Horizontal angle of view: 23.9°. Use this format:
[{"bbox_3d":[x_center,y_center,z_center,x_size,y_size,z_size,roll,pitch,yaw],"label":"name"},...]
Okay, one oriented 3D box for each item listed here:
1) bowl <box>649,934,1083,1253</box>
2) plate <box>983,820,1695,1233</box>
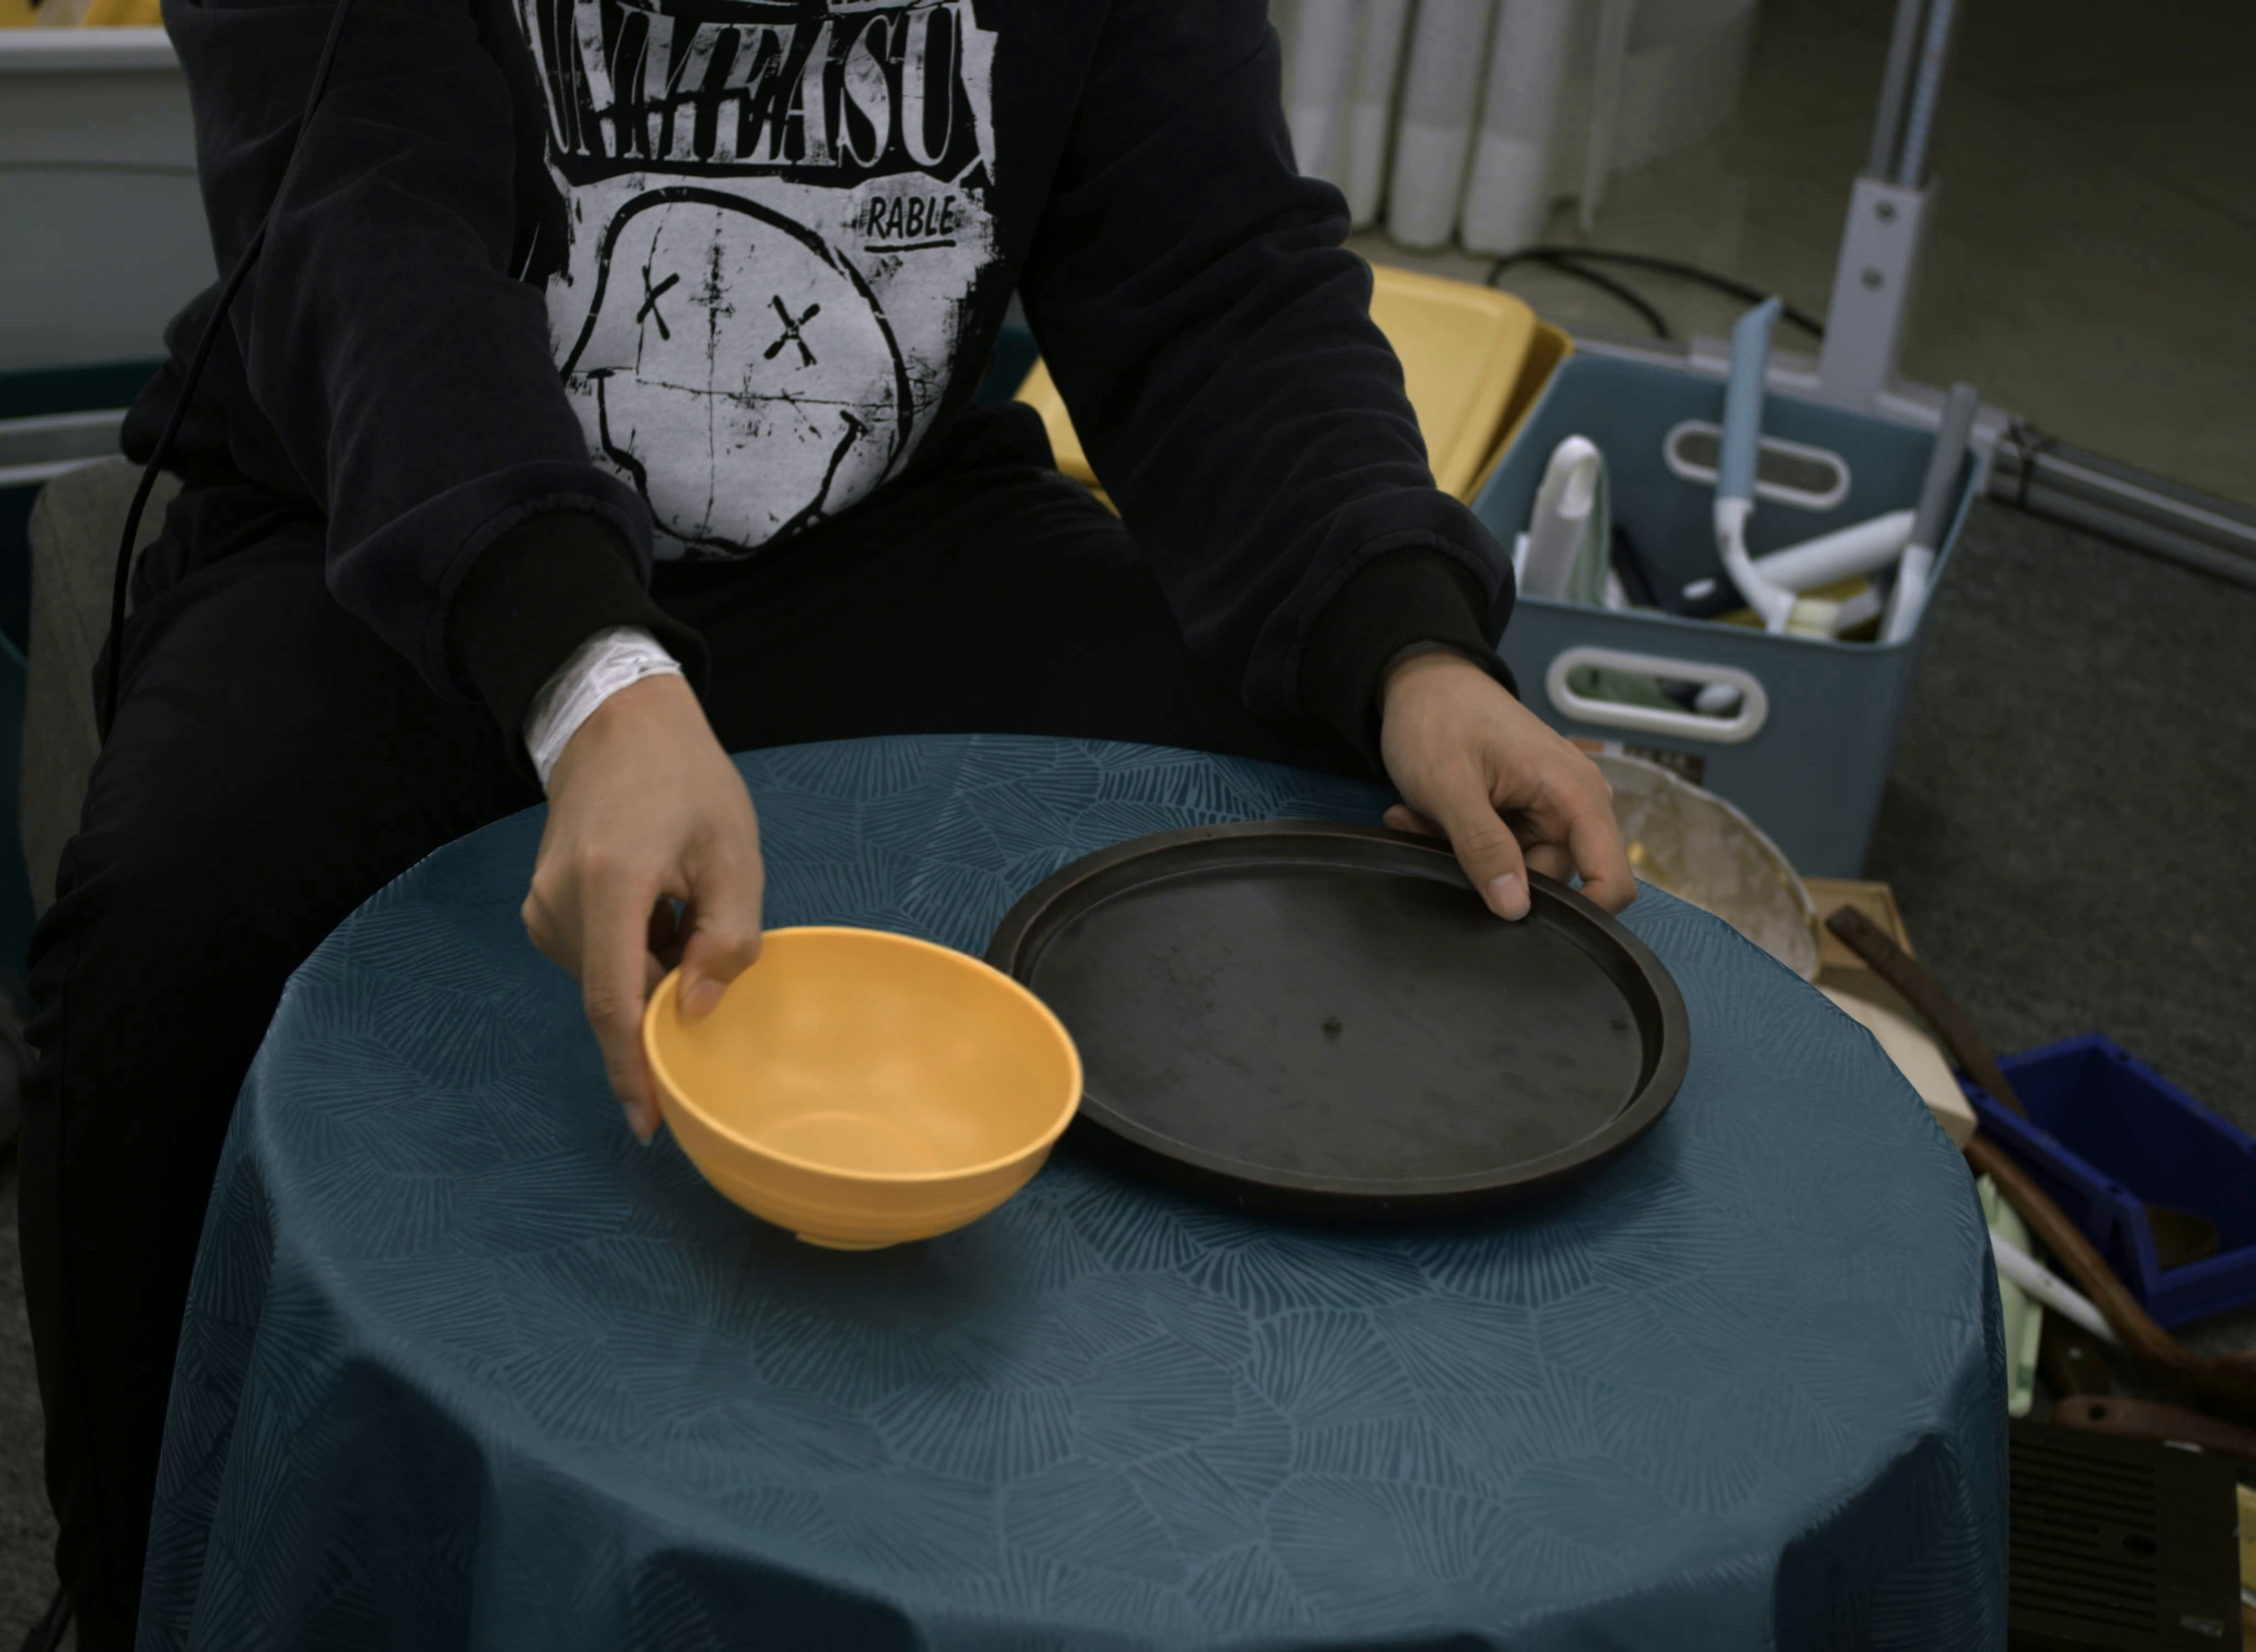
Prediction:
[{"bbox_3d":[-0.090,0.097,1.747,0.145,0.060,0.146,8,28,-5],"label":"bowl"},{"bbox_3d":[0.074,0.069,1.887,0.254,0.029,0.256,2,29,-1],"label":"plate"}]
